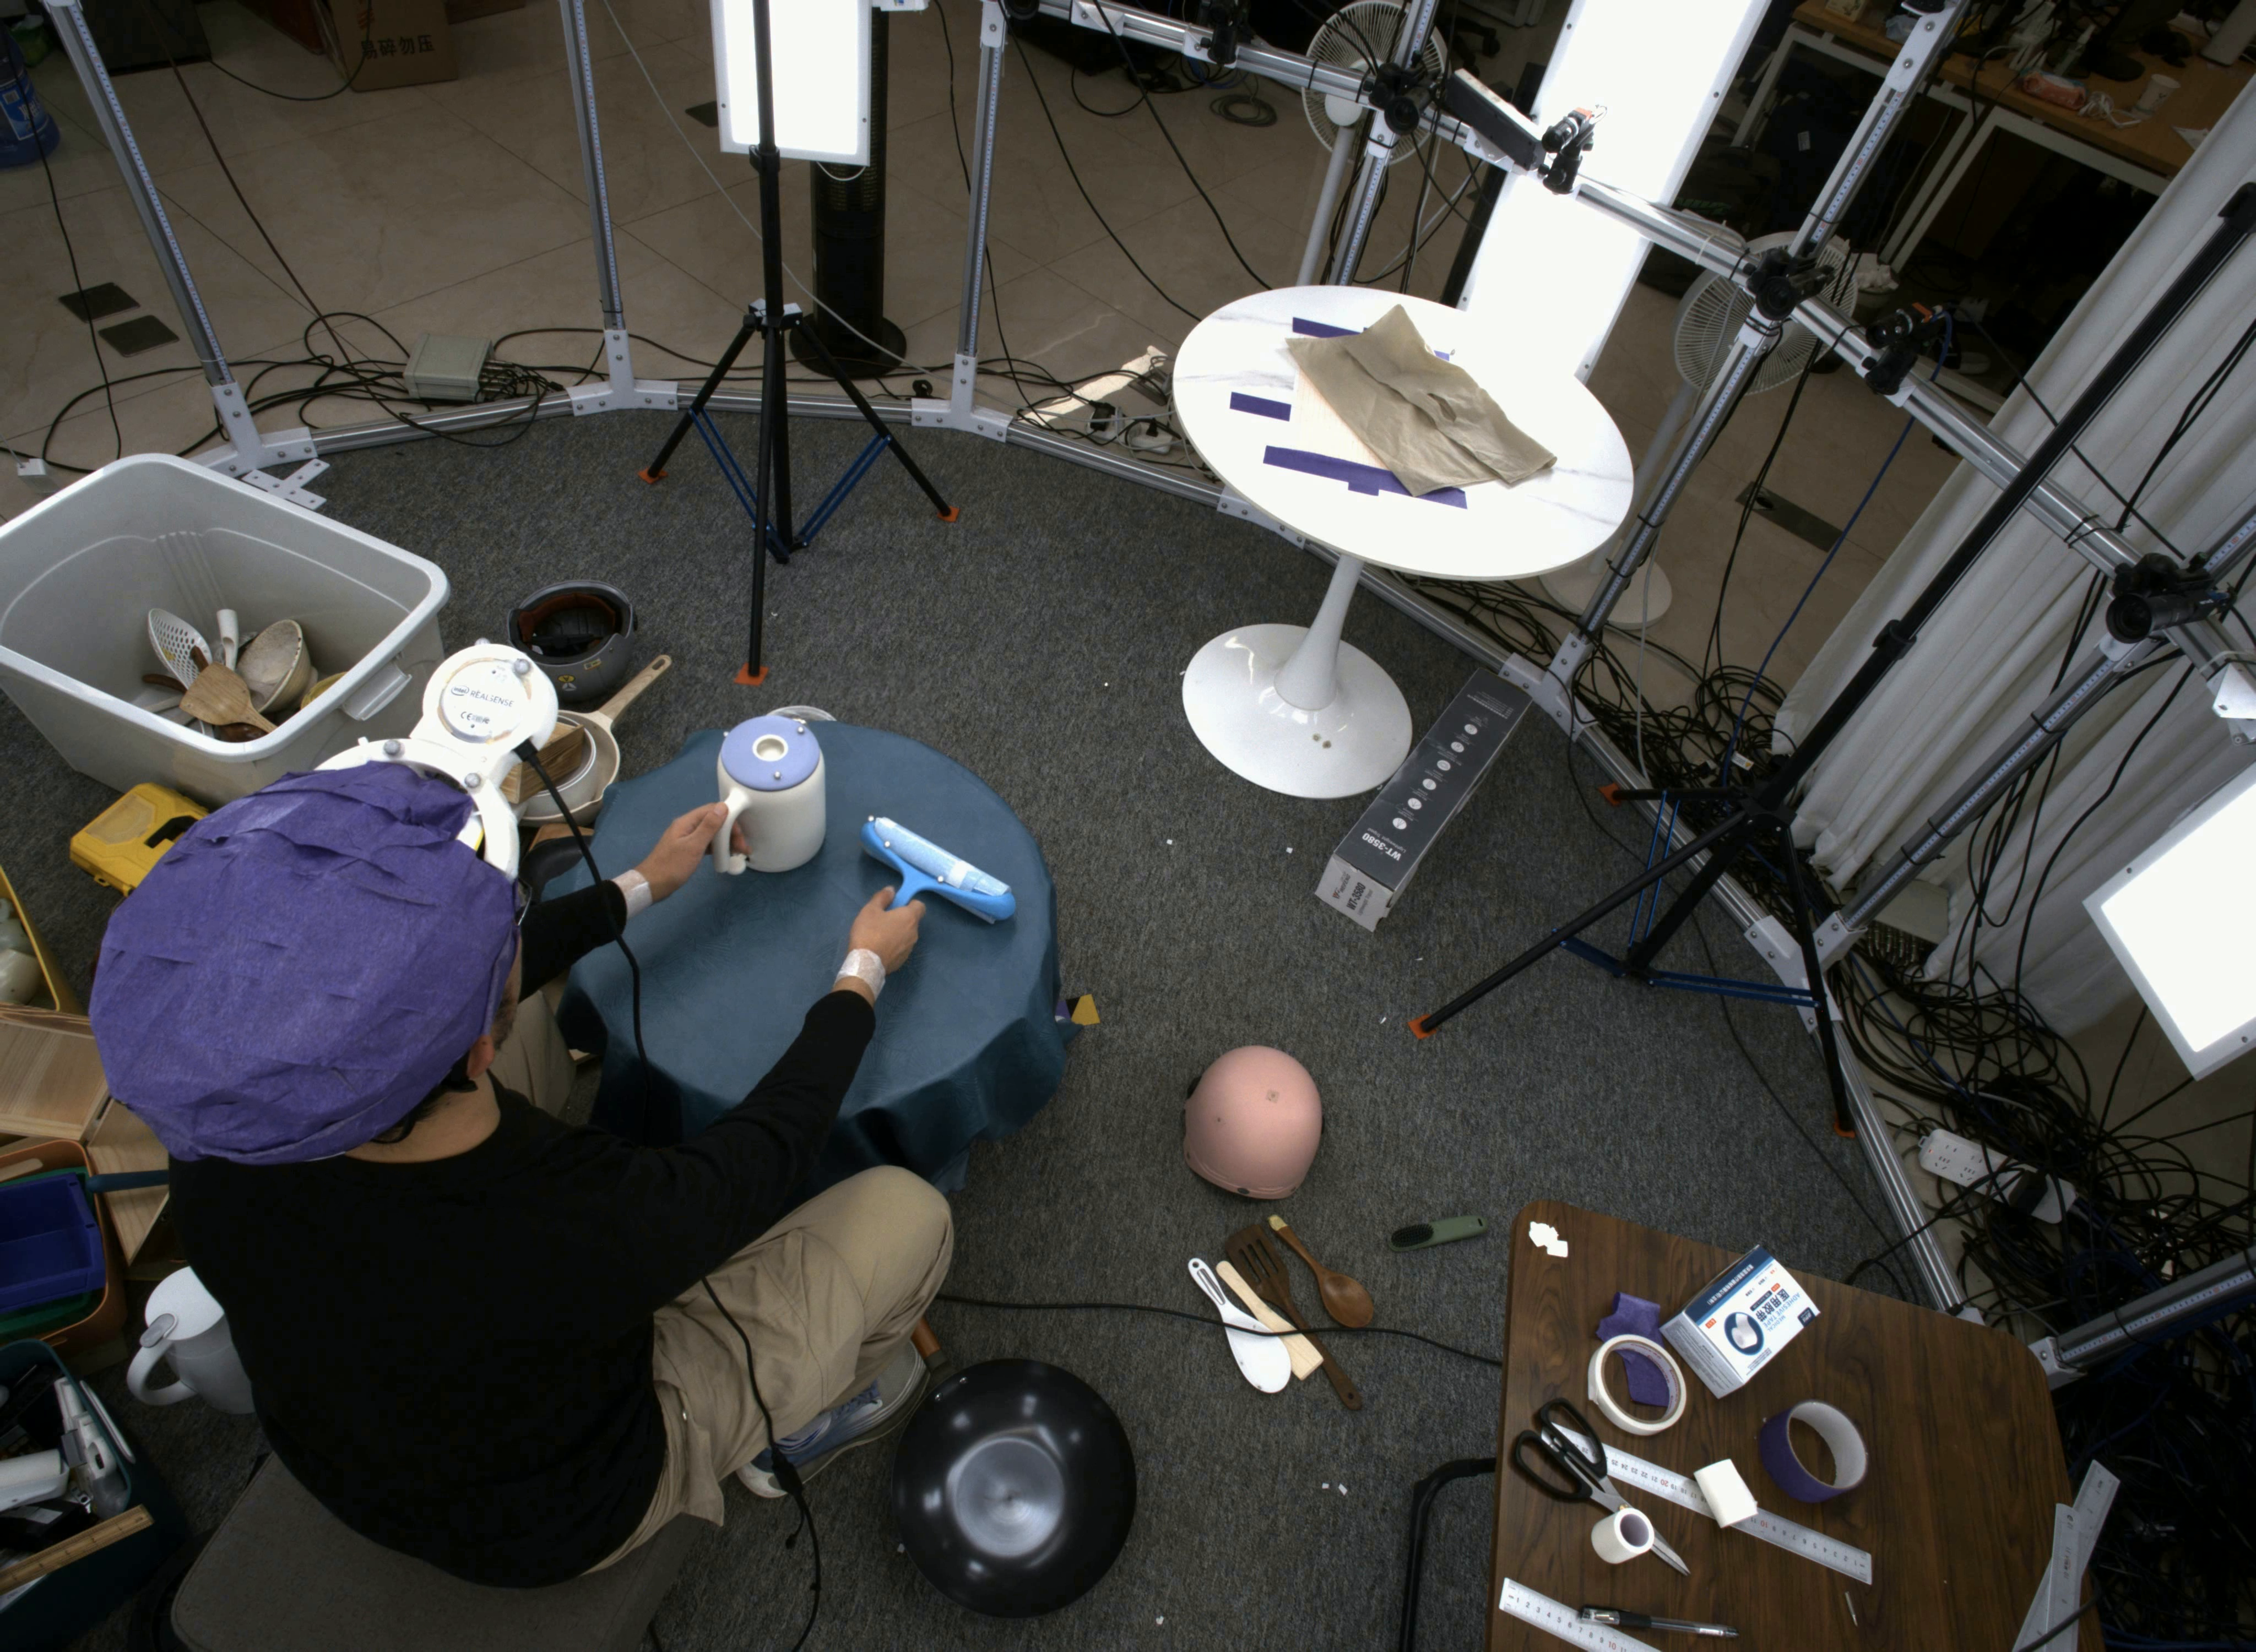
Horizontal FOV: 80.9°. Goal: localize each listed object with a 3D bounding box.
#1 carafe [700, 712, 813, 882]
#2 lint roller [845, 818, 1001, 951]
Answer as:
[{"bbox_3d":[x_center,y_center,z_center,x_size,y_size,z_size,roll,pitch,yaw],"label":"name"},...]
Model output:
[{"bbox_3d":[-0.475,-0.024,1.612,0.130,0.186,0.190,23,53,7],"label":"carafe"},{"bbox_3d":[-0.287,0.085,1.640,0.226,0.069,0.179,29,37,4],"label":"lint roller"}]
